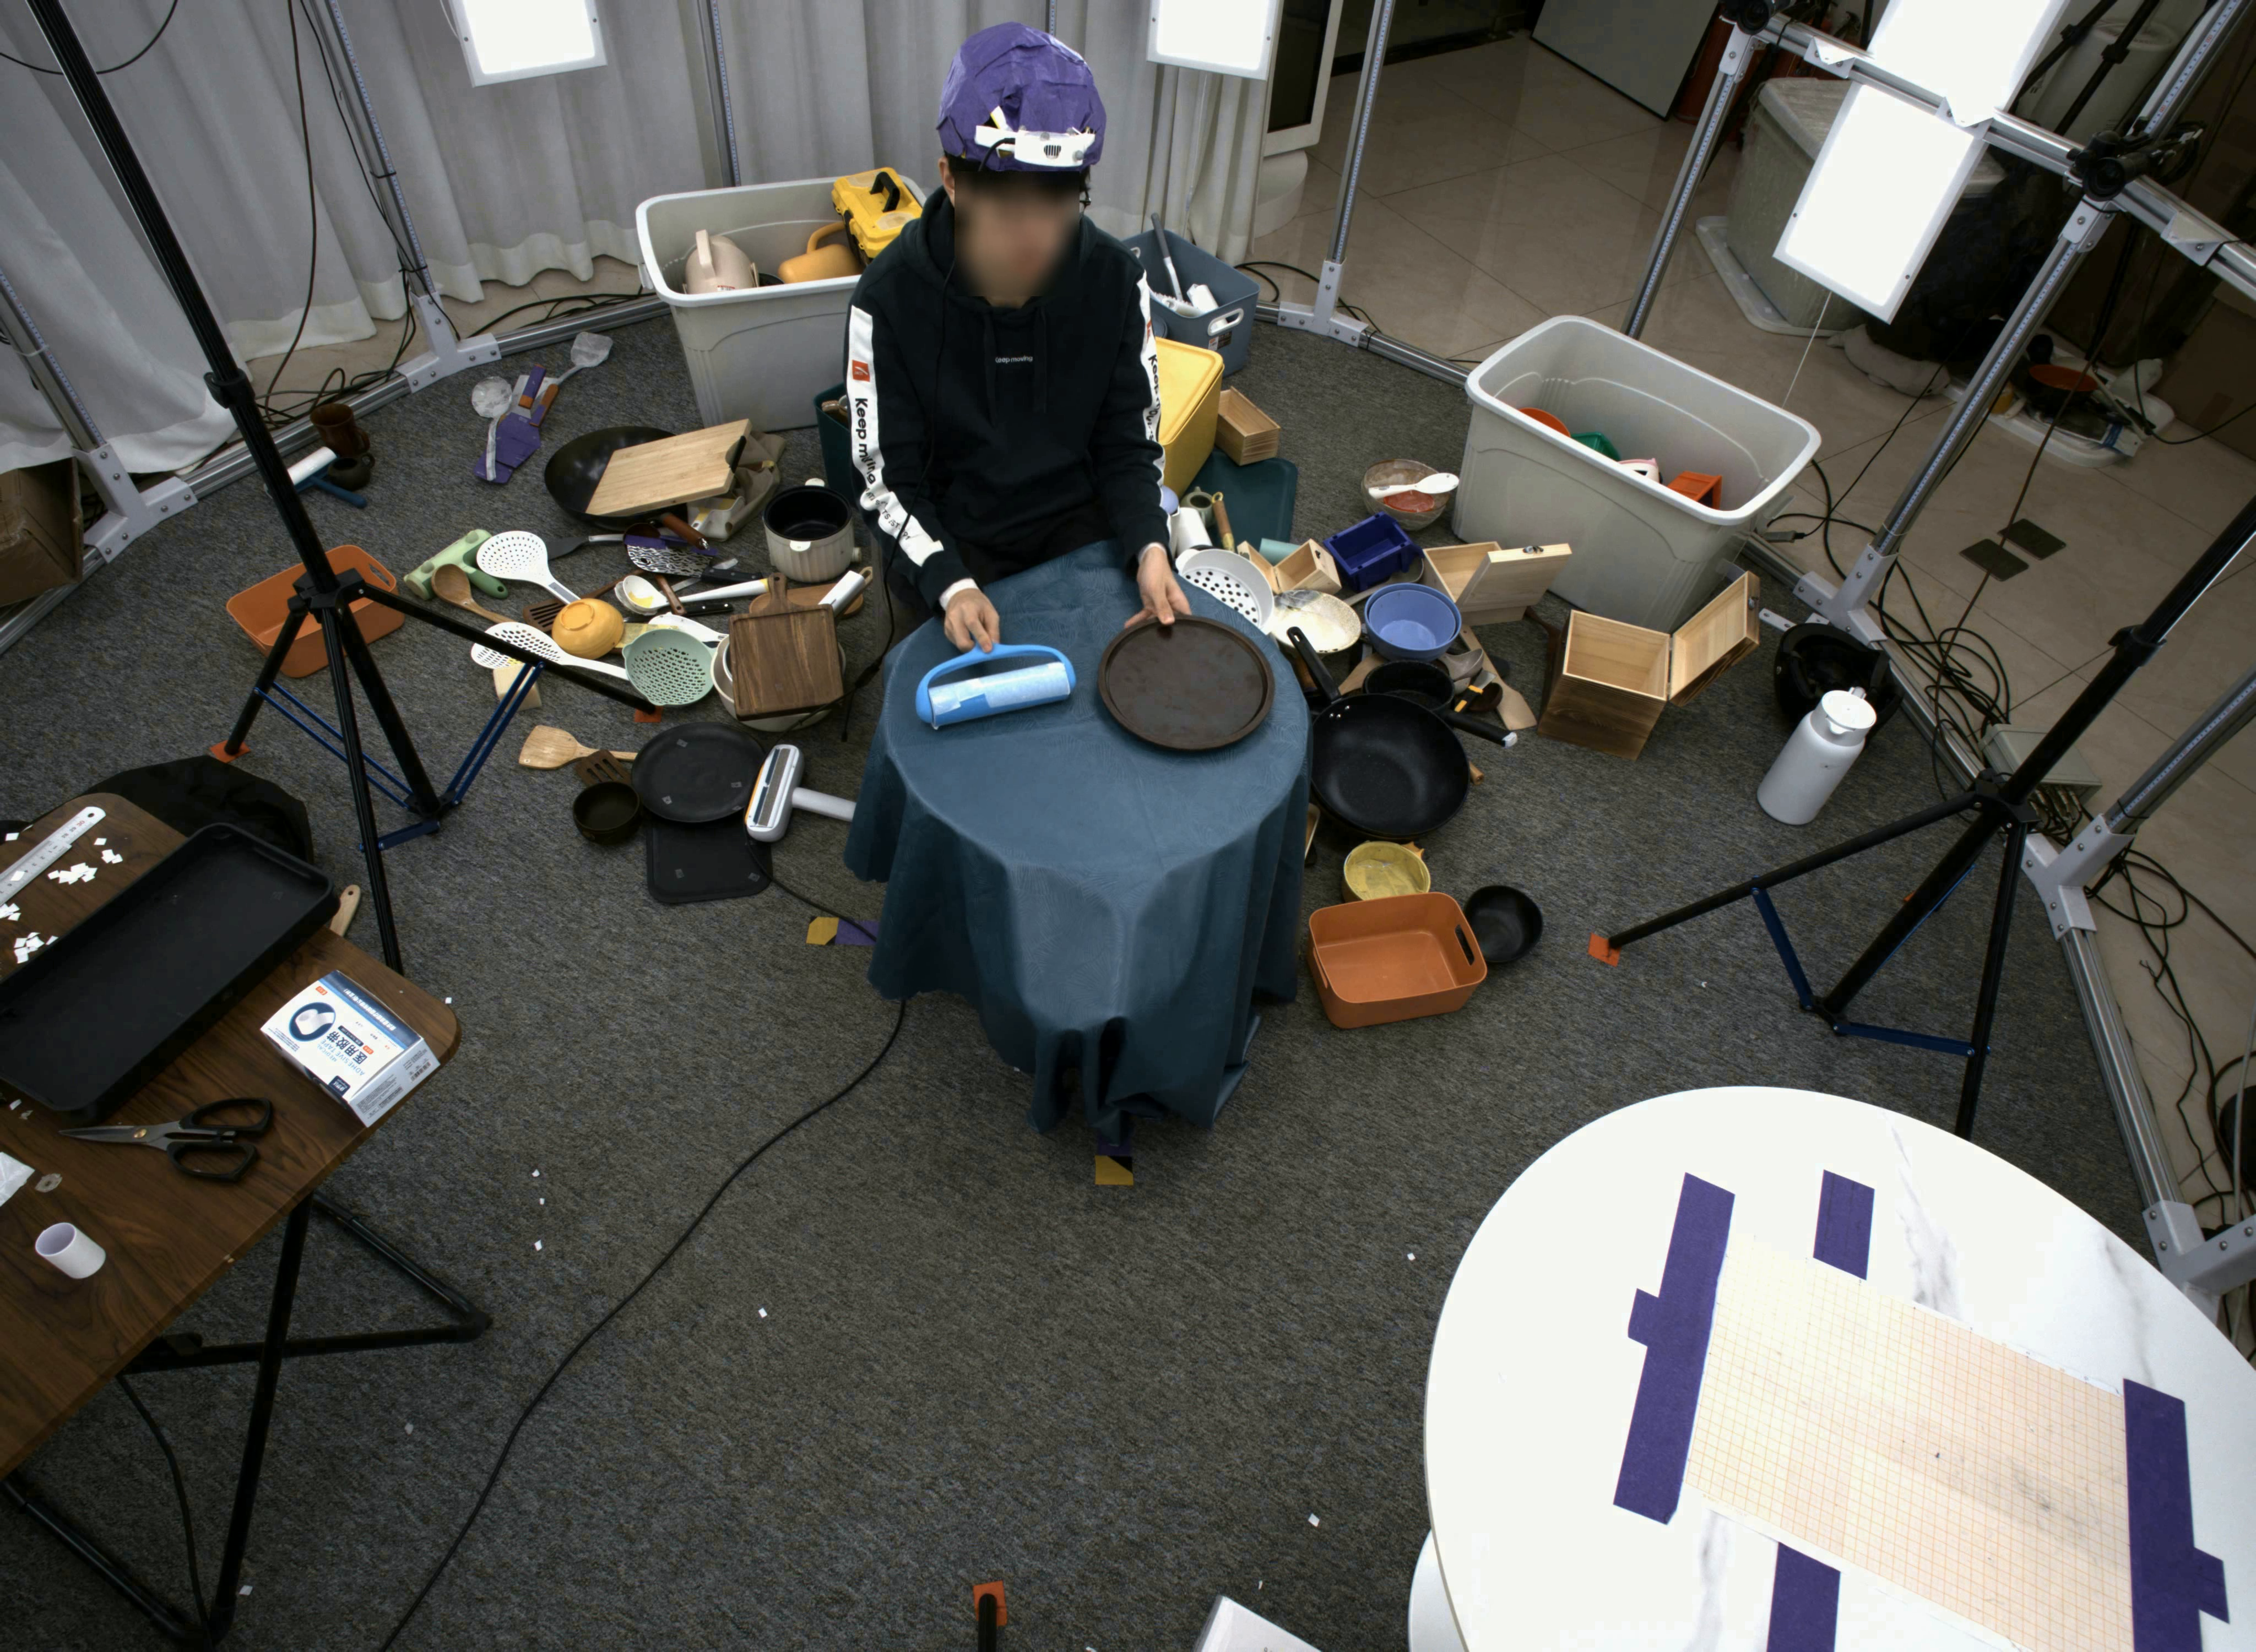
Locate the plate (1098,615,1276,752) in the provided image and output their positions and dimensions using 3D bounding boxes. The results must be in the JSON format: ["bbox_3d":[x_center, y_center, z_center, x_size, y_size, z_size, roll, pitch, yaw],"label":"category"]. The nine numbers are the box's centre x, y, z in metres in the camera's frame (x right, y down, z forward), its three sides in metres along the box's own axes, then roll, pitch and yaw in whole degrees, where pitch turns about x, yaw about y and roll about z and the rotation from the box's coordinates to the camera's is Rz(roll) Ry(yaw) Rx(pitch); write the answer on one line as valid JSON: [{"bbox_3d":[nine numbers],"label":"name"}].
[{"bbox_3d":[0.083,-0.204,1.824,0.254,0.028,0.261,2,53,-3],"label":"plate"}]

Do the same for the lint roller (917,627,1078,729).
[{"bbox_3d":[-0.201,-0.229,1.811,0.229,0.066,0.184,-17,58,-15],"label":"lint roller"}]
